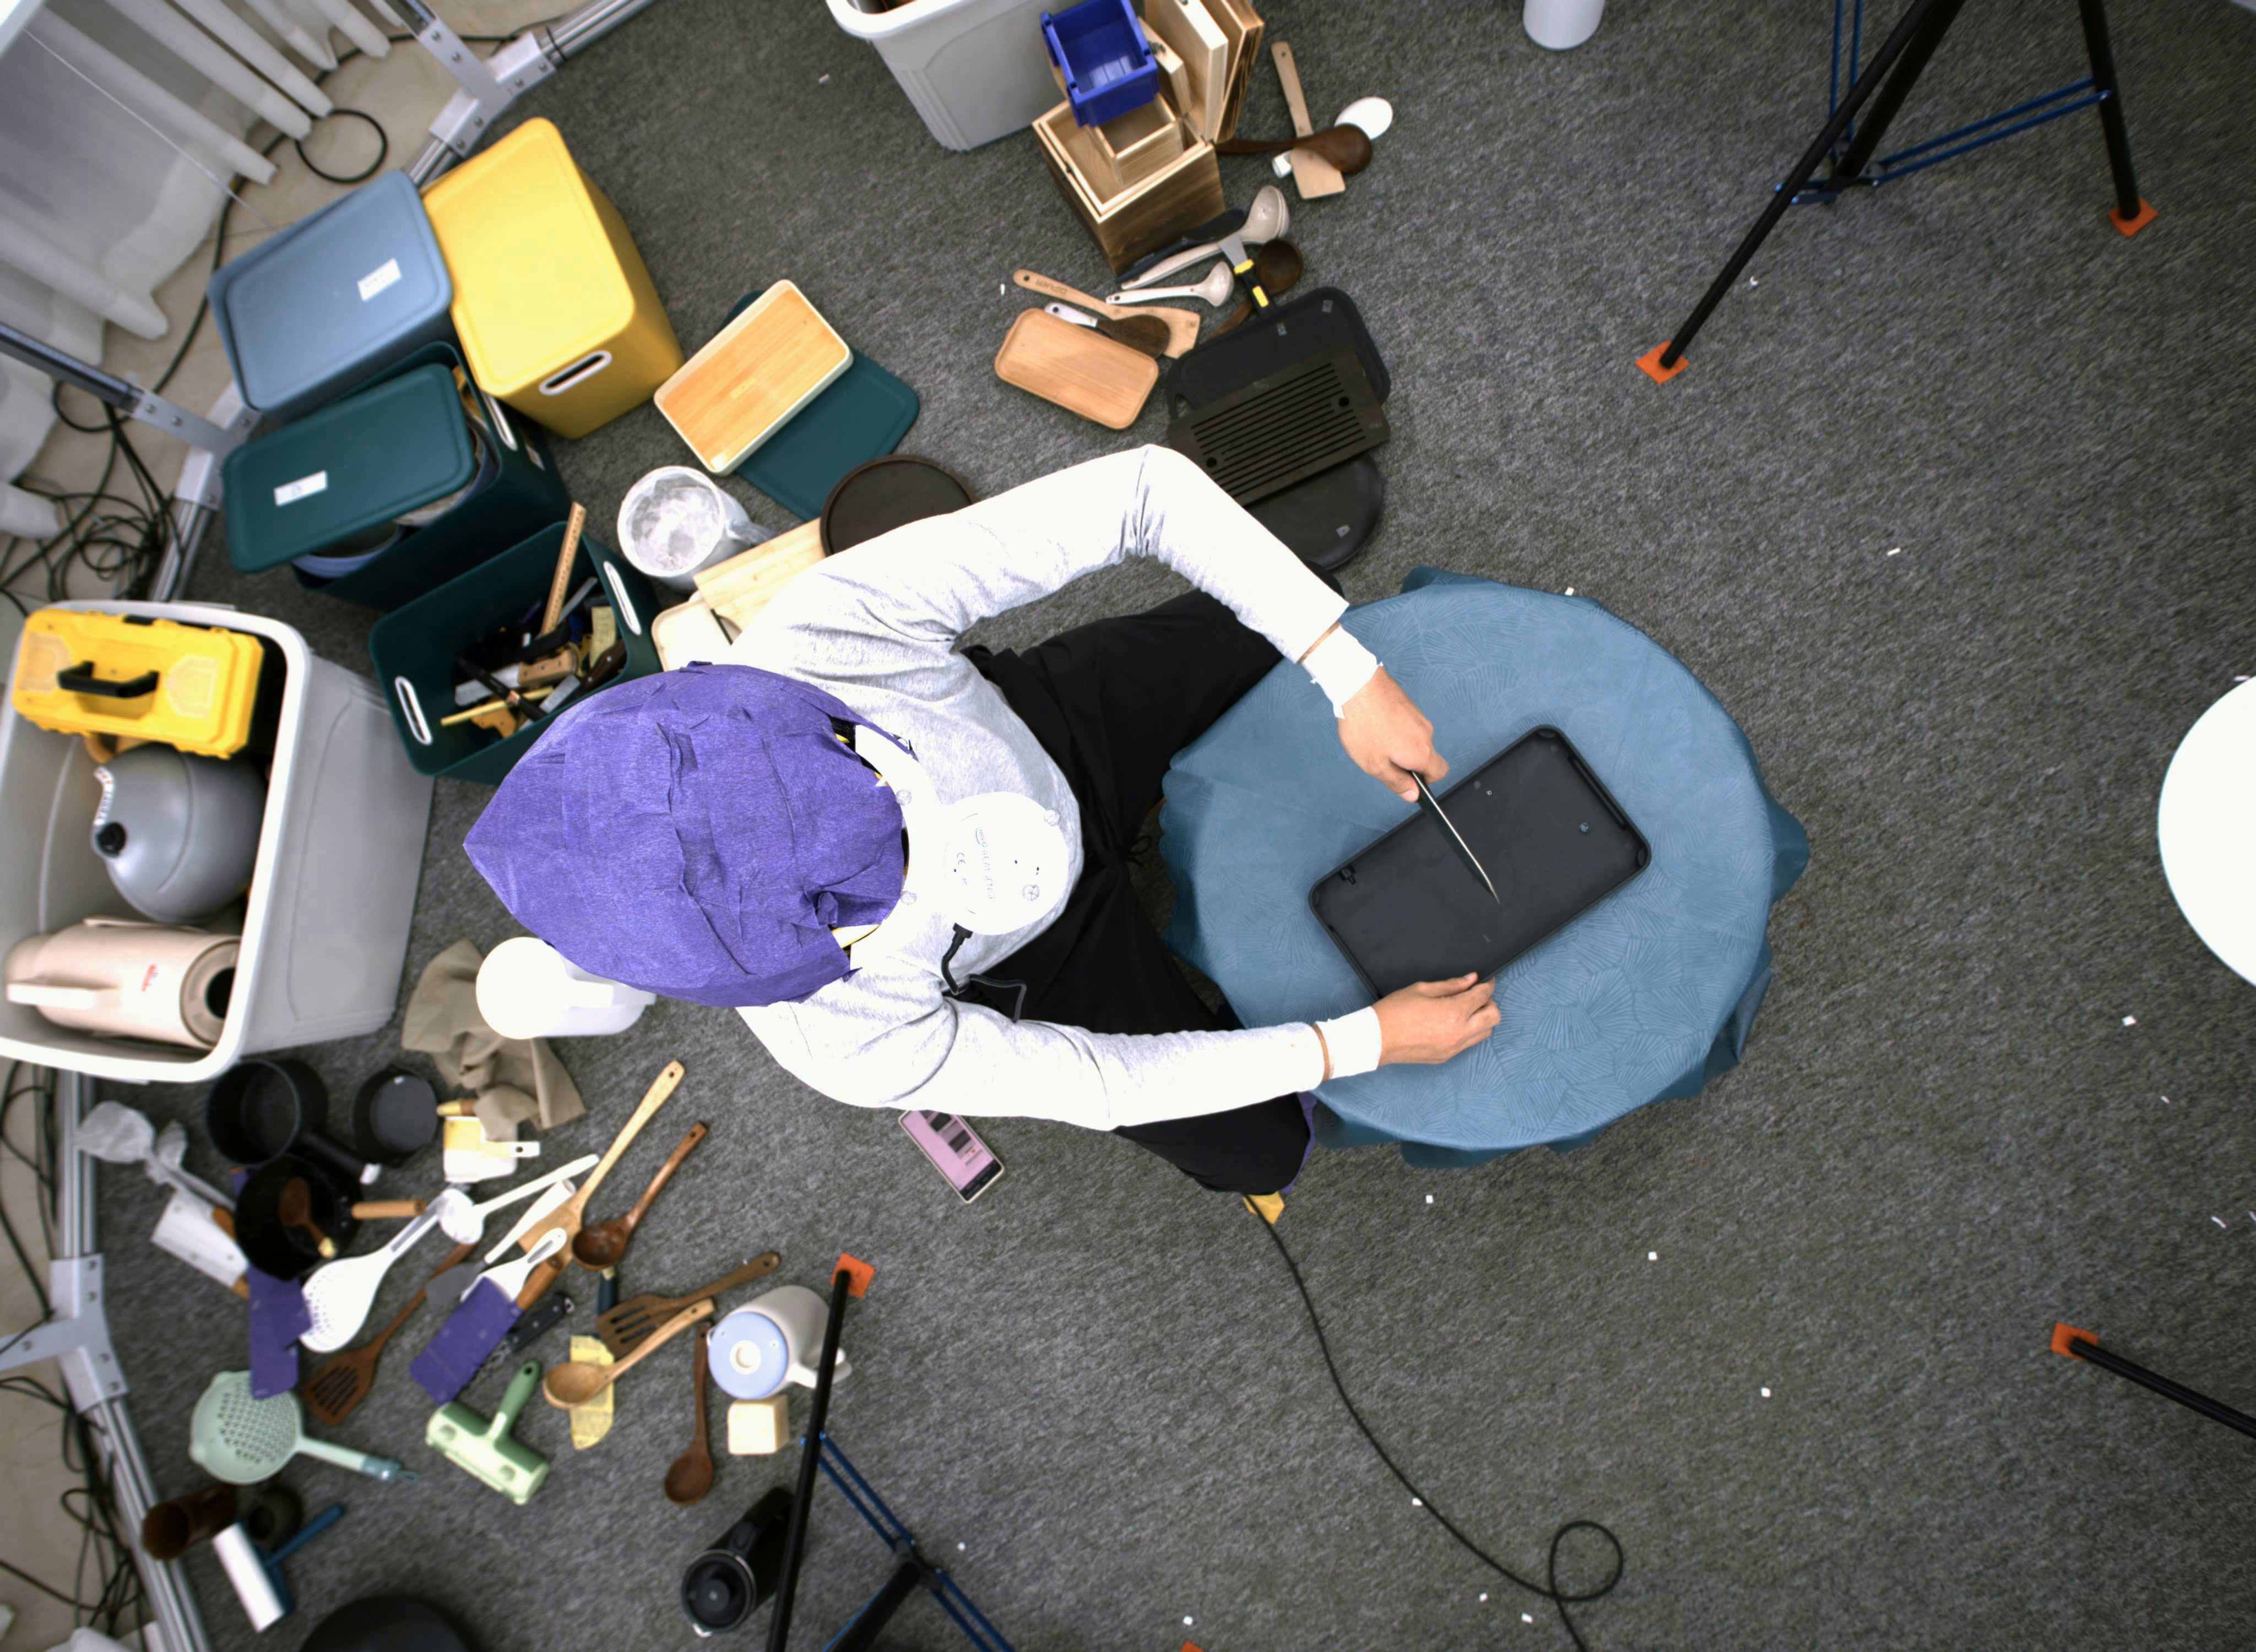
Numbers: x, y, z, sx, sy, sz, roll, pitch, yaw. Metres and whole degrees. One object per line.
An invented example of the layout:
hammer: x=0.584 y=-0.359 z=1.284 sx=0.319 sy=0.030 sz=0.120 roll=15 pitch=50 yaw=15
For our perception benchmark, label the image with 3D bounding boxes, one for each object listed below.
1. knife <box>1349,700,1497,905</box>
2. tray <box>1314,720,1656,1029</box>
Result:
knife: x=0.275 y=-0.020 z=1.258 sx=0.016 sy=0.024 sz=0.240 roll=-43 pitch=105 yaw=-20
tray: x=0.366 y=0.049 z=1.426 sx=0.320 sy=0.037 sz=0.183 roll=-38 pitch=80 yaw=7
